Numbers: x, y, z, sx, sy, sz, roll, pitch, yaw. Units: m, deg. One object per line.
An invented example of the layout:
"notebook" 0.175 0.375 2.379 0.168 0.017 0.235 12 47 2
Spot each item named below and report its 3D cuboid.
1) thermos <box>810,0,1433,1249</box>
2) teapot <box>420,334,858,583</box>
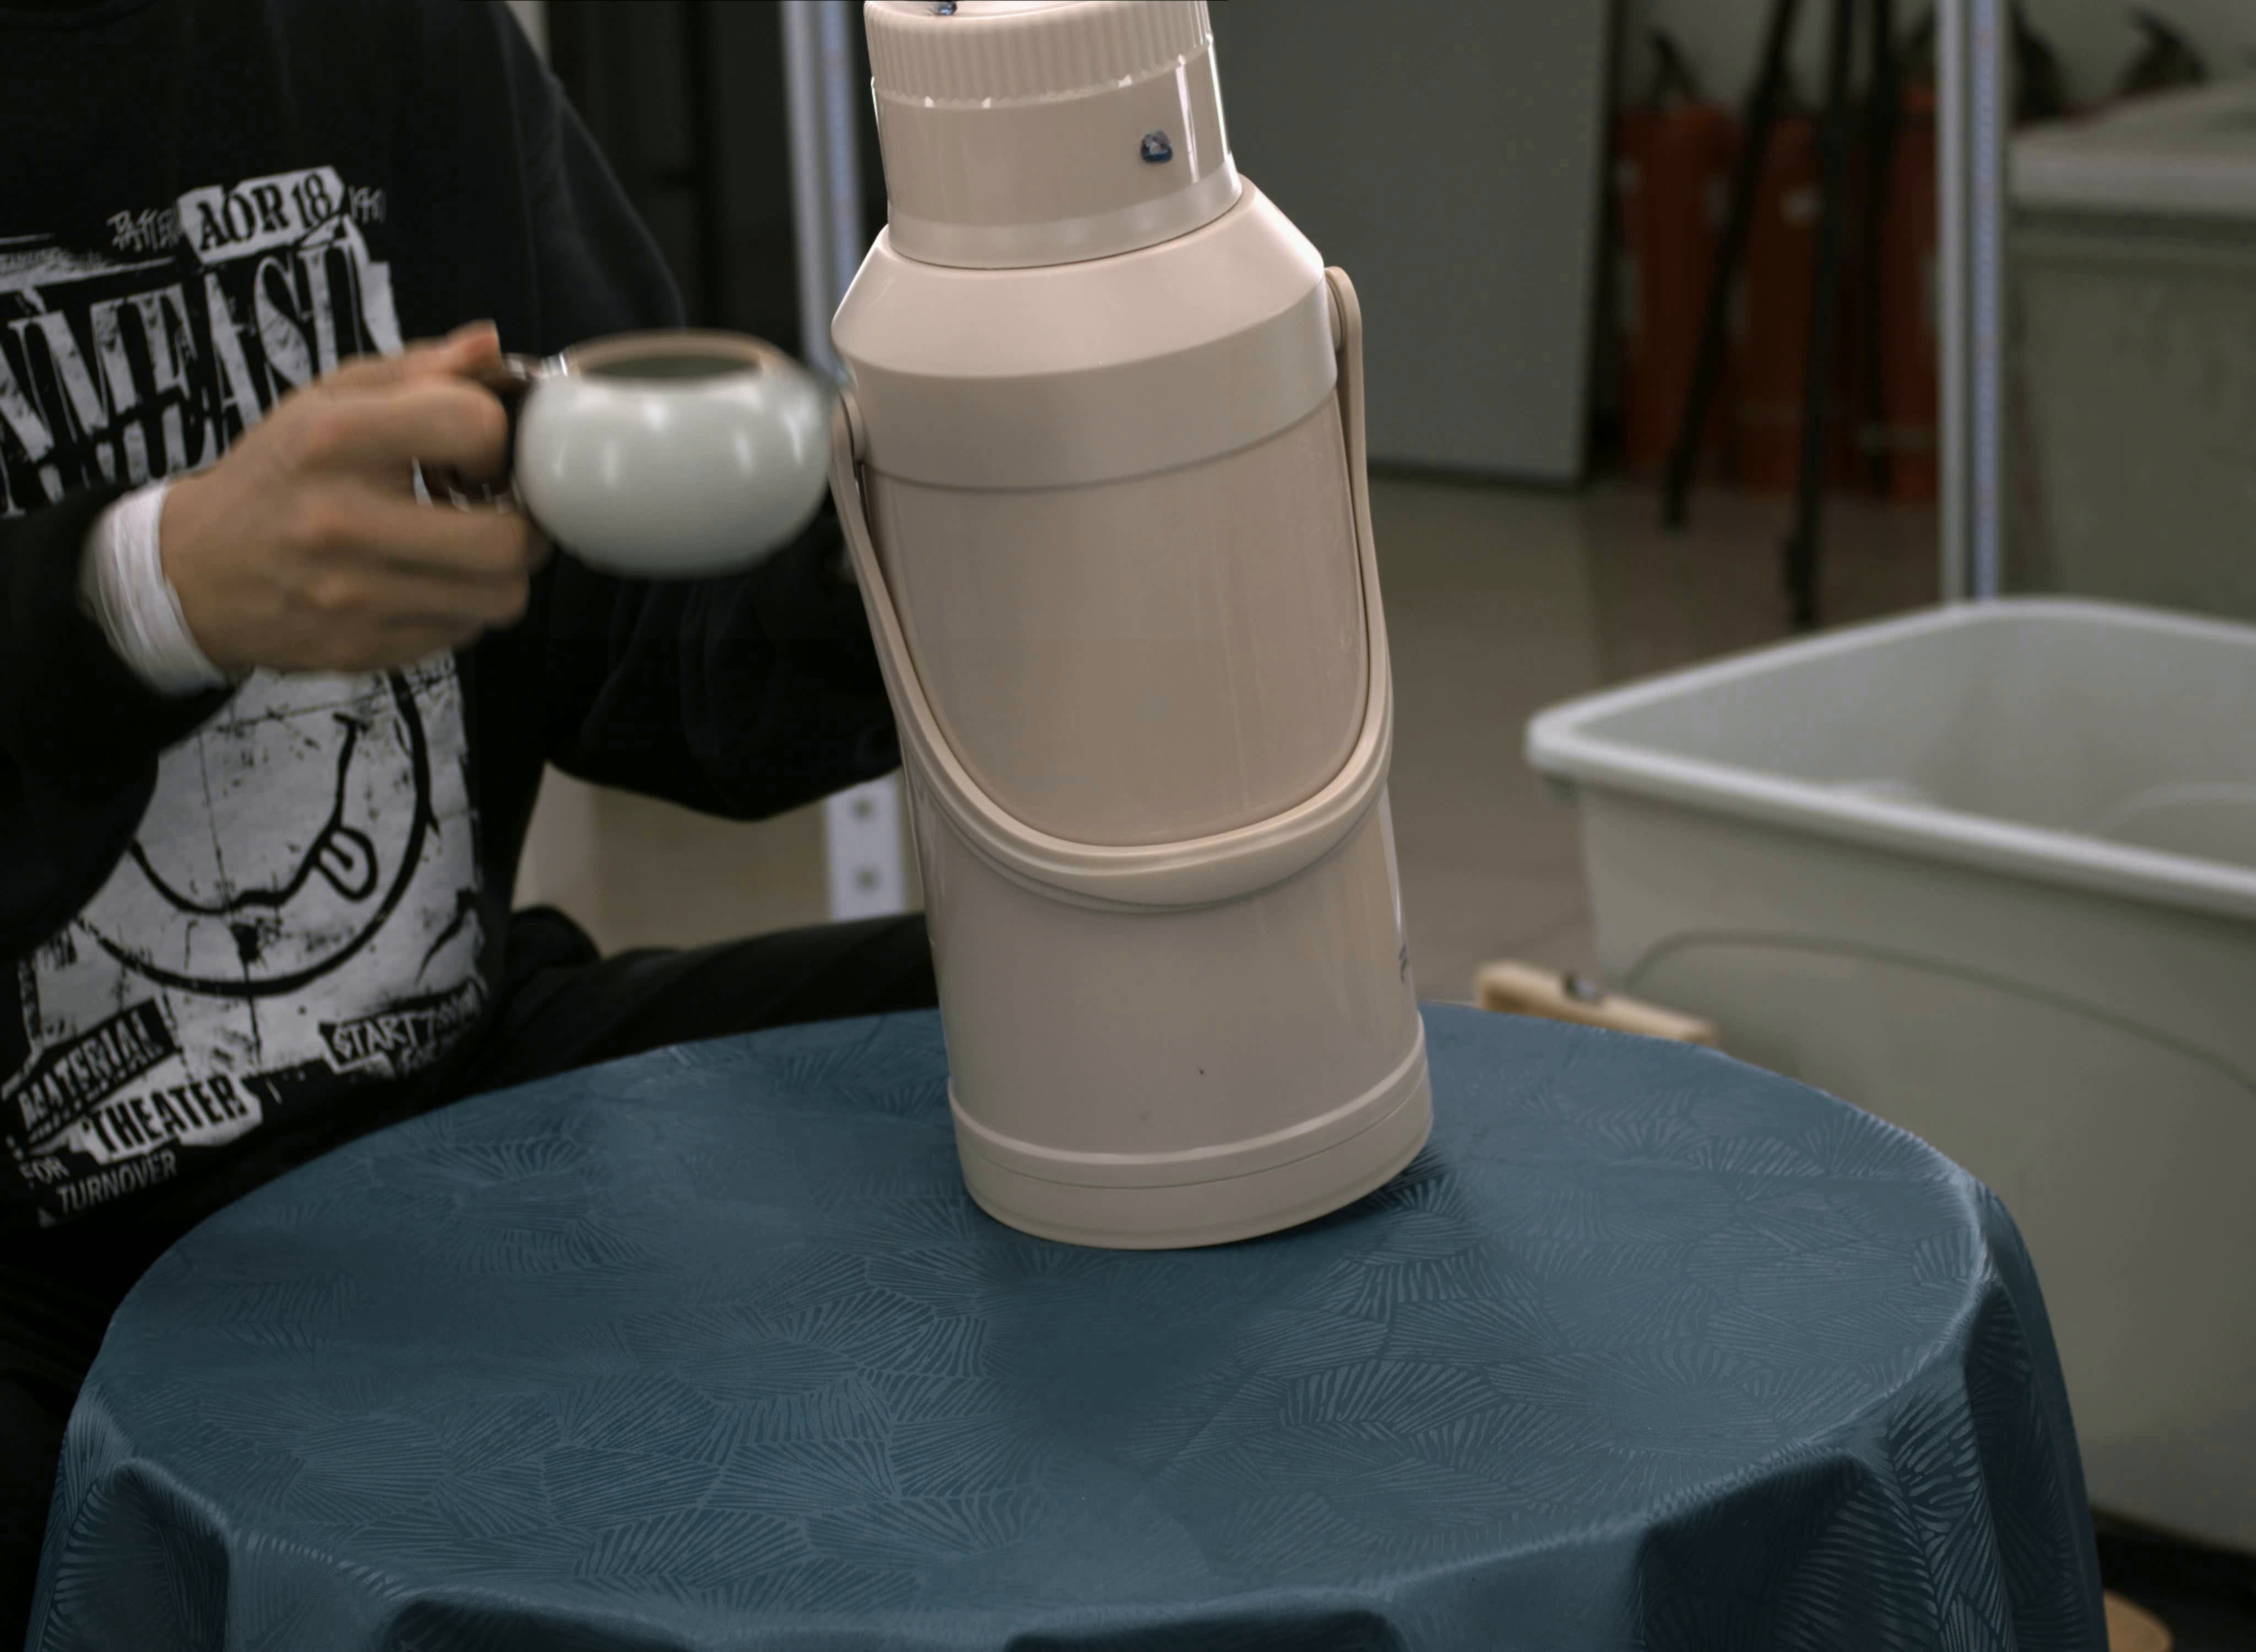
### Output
"thermos" -0.007 -0.084 1.728 0.172 0.409 0.209 -15 22 -13
"teapot" -0.140 -0.106 1.556 0.126 0.060 0.092 0 22 2
